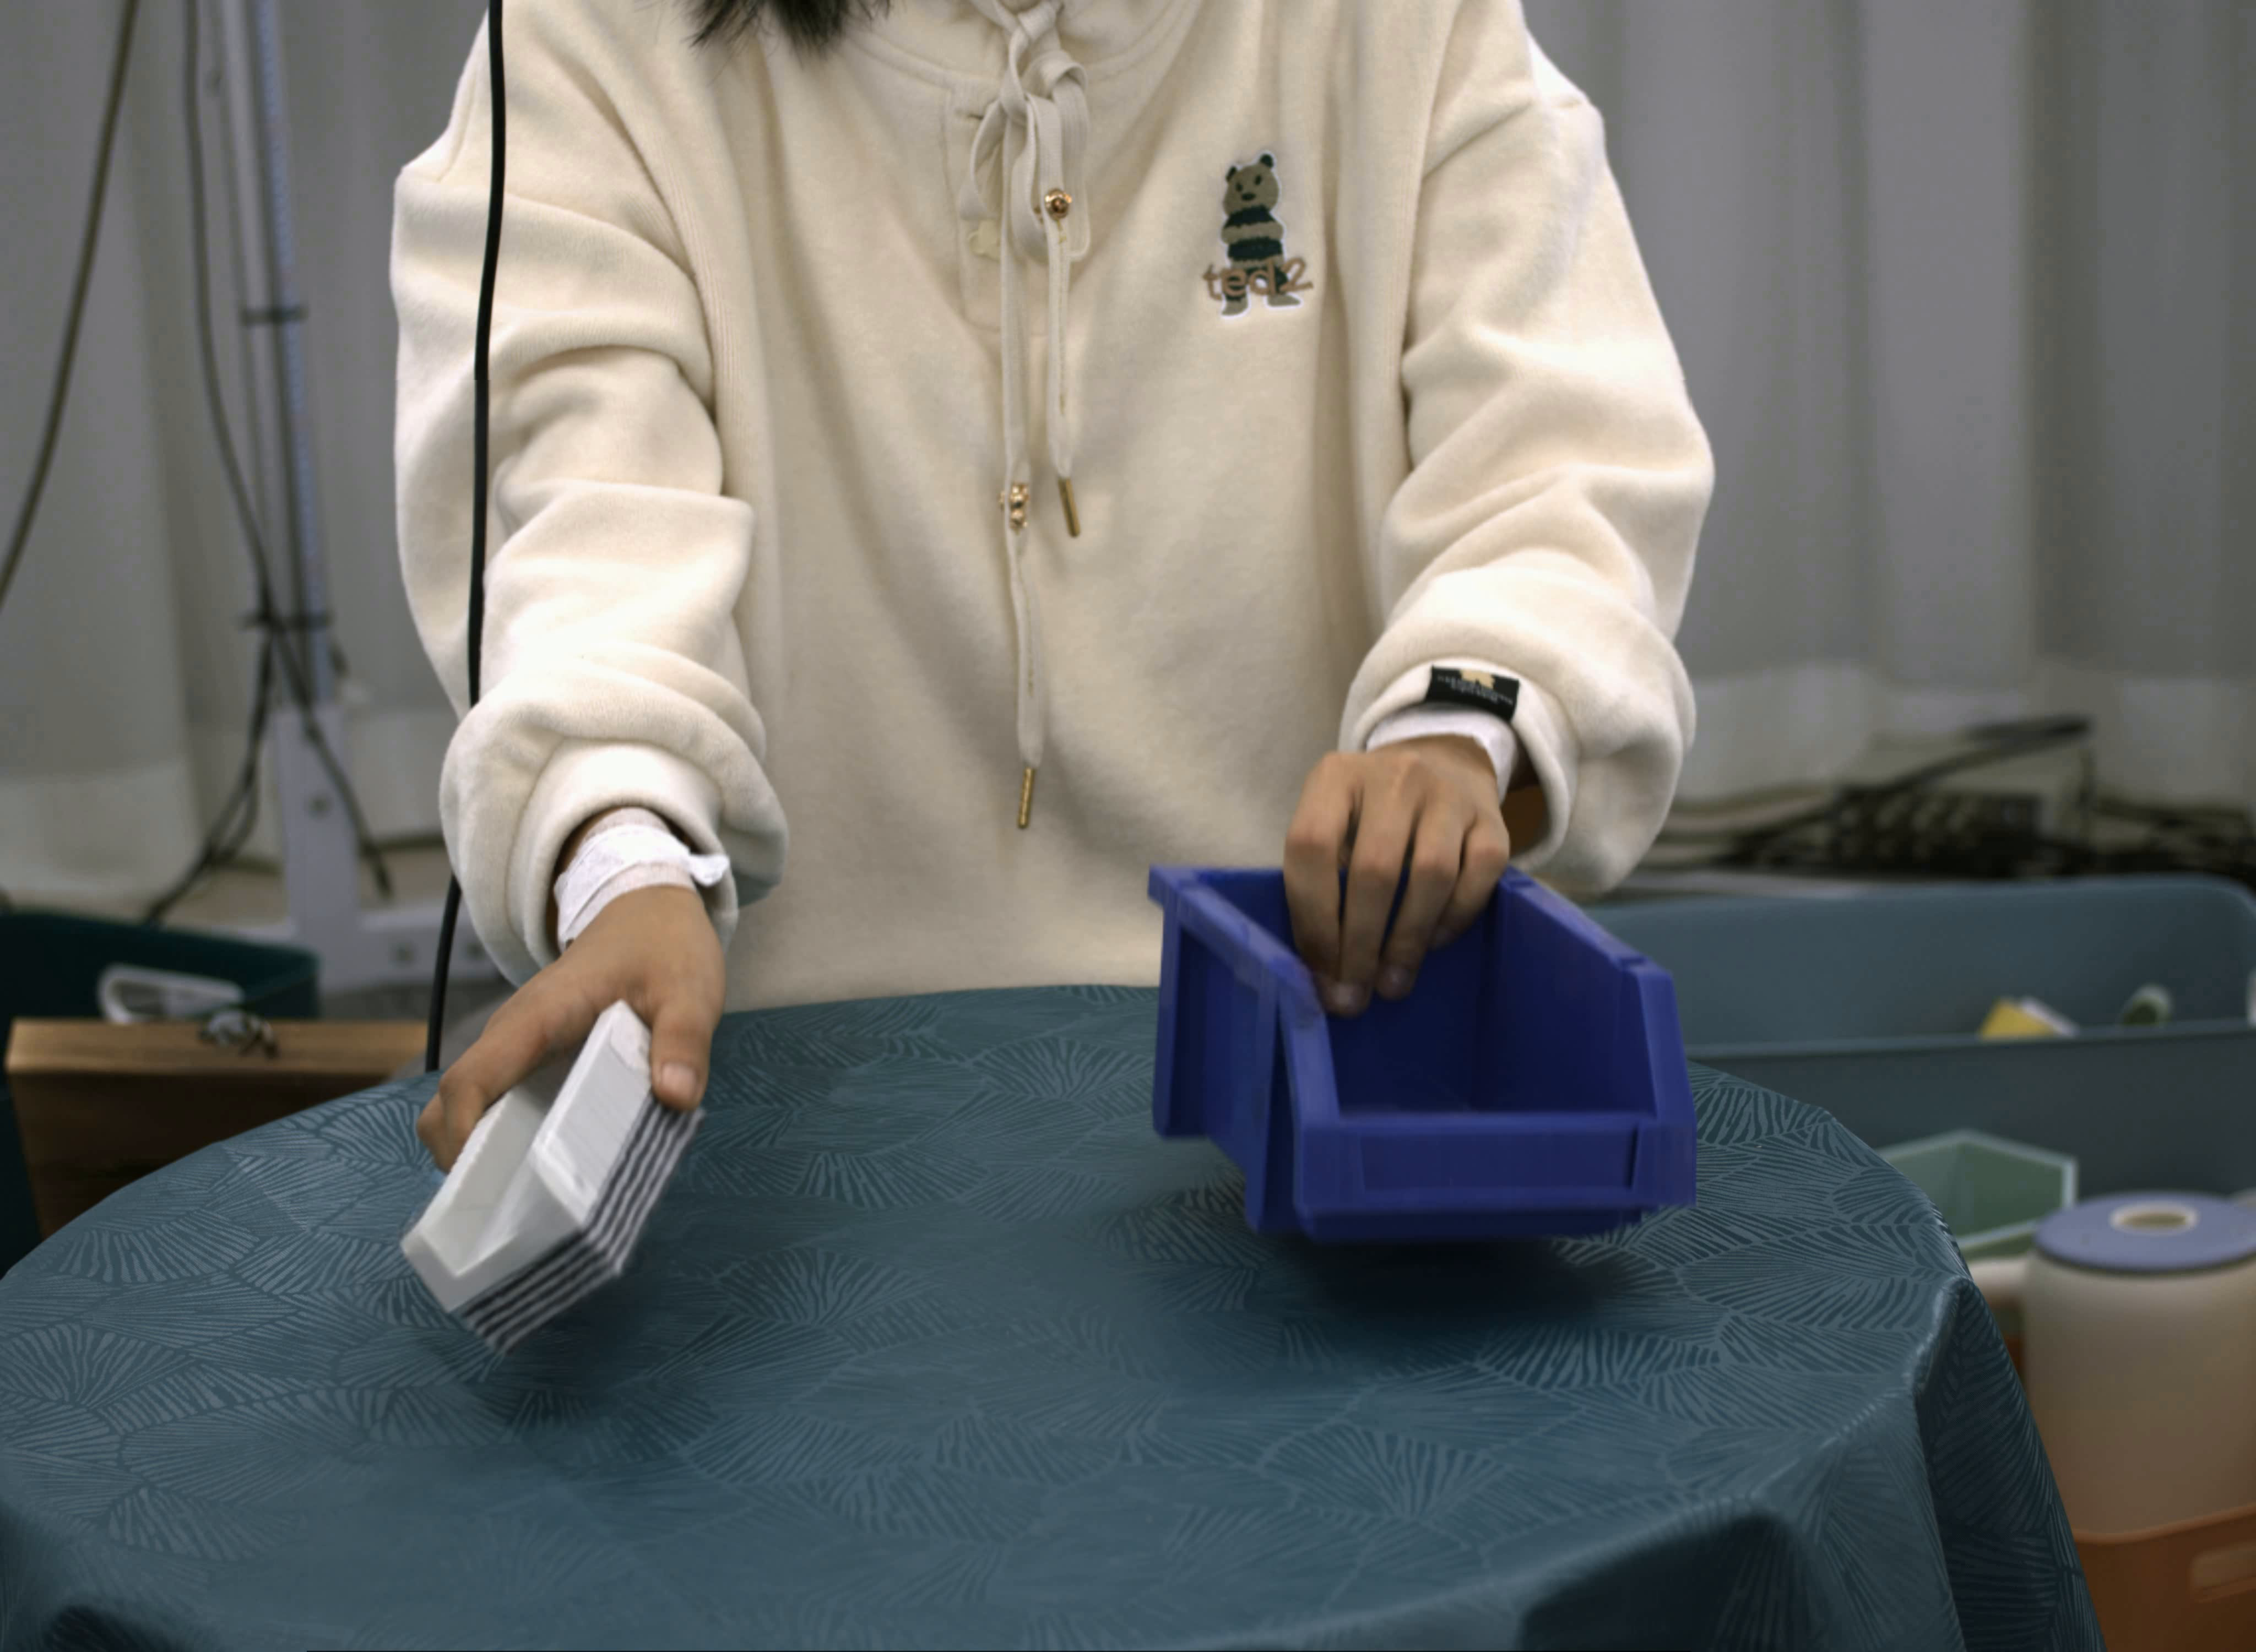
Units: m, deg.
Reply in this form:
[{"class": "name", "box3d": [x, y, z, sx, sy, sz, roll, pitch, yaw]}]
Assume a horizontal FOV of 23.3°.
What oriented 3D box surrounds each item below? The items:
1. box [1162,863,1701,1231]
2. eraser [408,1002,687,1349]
[{"class": "box", "box3d": [0.089, 0.068, 1.635, 0.124, 0.082, 0.180, 2, 9, -14]}, {"class": "eraser", "box3d": [-0.165, 0.101, 1.590, 0.049, 0.046, 0.135, -39, 11, 14]}]
